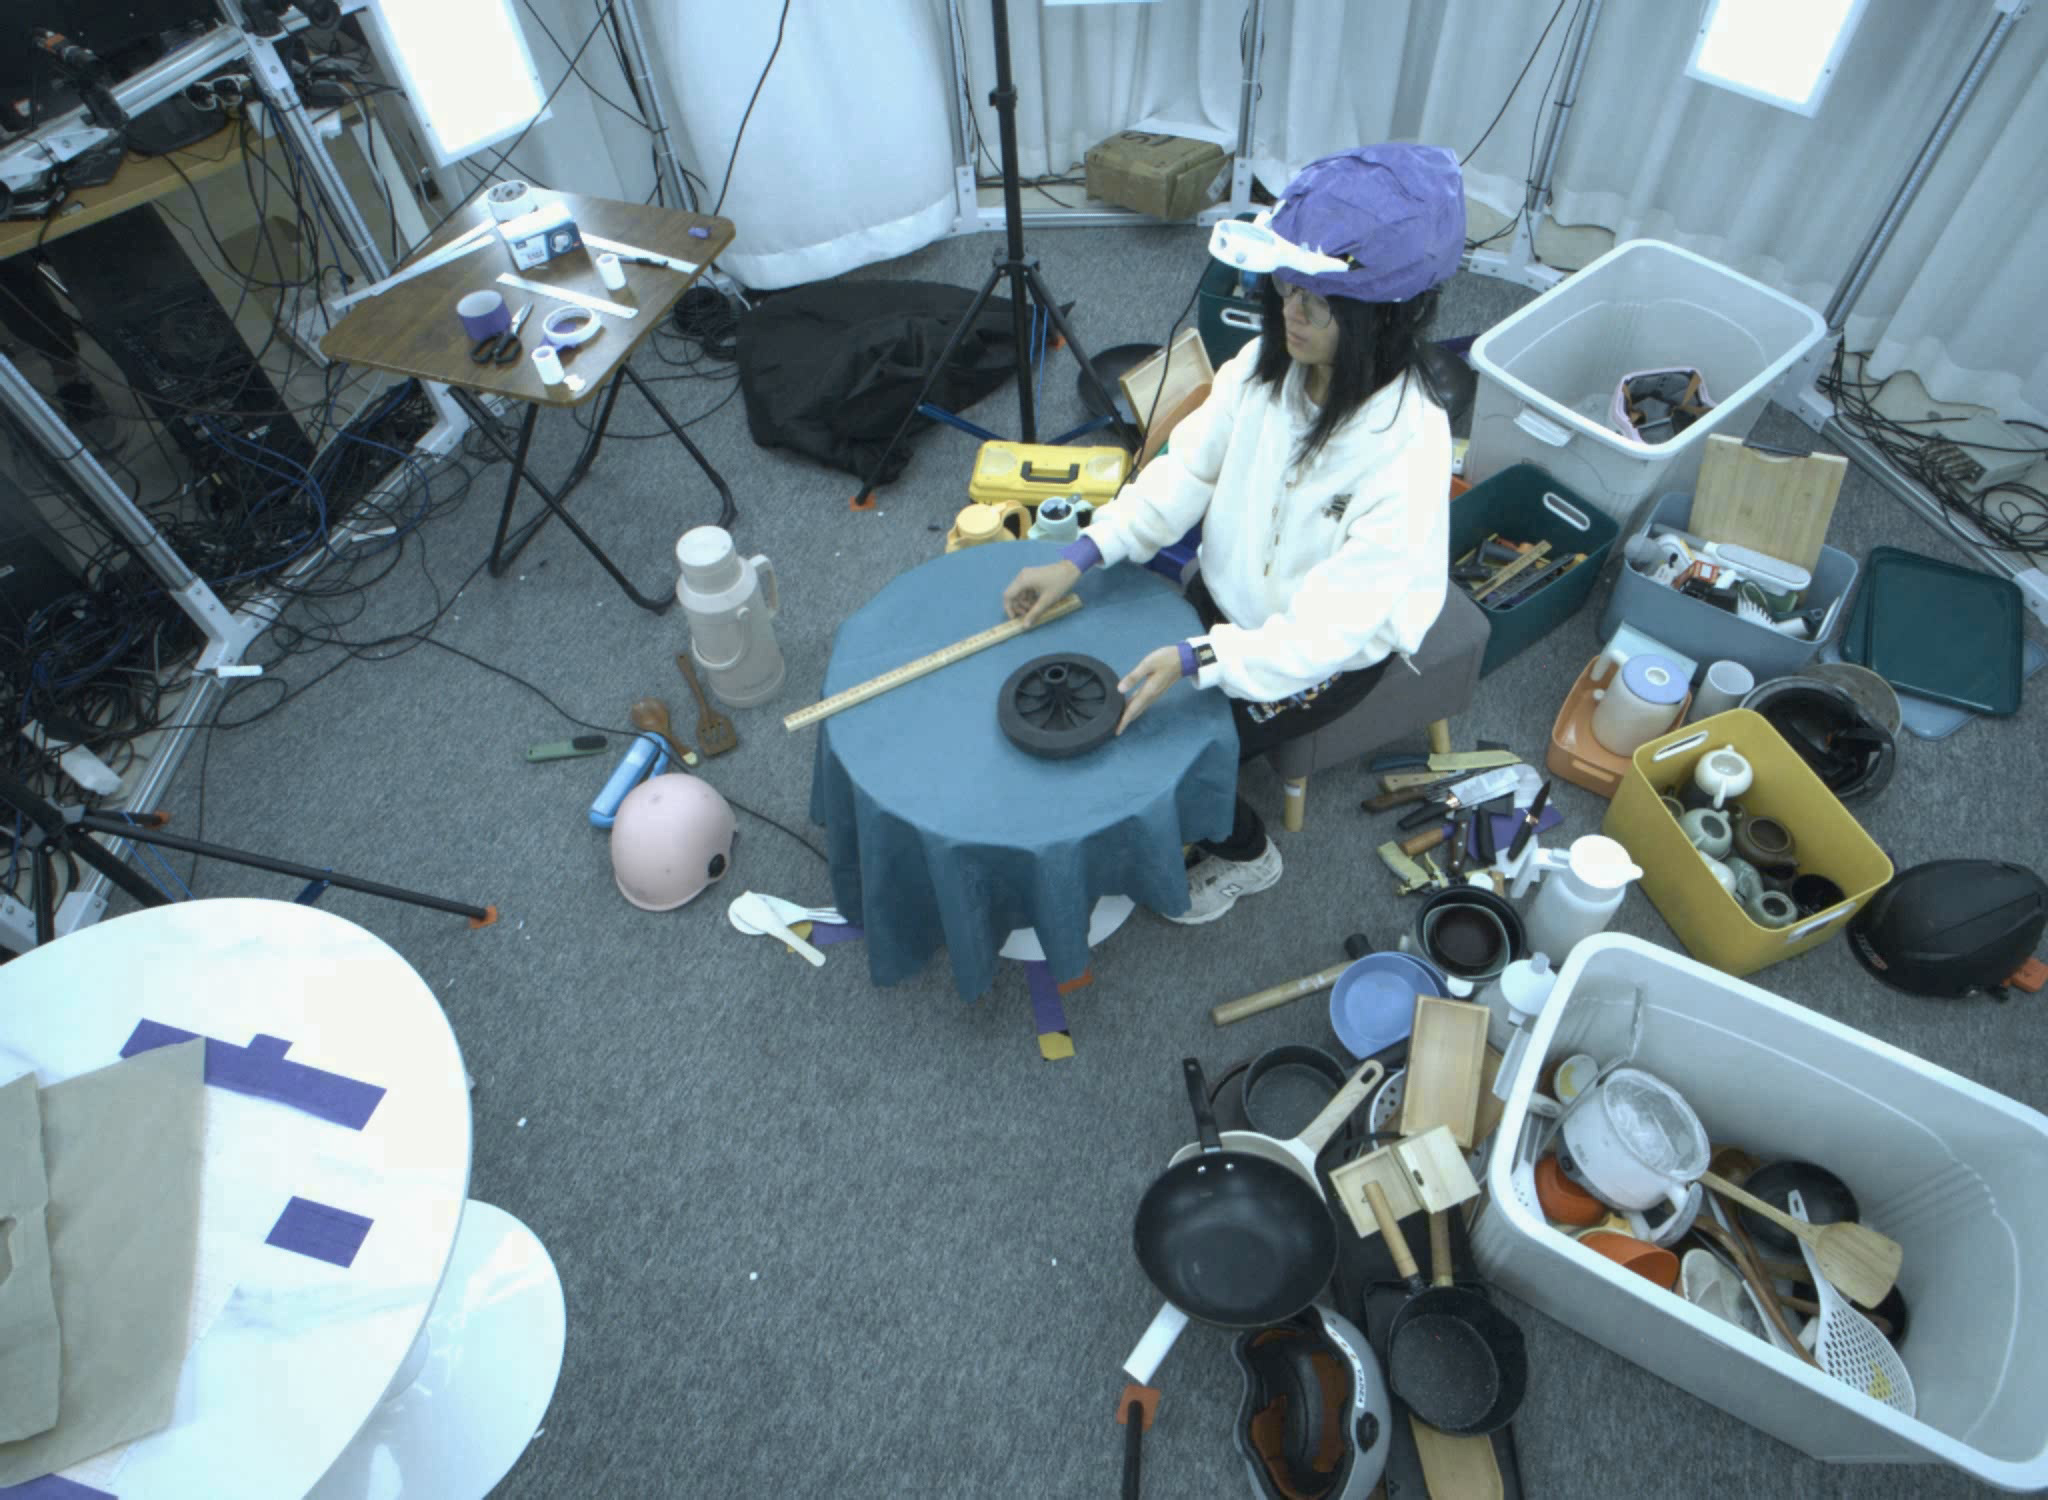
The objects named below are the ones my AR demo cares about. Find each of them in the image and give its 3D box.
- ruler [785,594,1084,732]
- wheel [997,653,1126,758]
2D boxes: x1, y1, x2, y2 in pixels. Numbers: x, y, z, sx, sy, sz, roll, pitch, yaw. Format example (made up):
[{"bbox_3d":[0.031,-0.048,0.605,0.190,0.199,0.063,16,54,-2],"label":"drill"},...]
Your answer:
[{"bbox_3d":[-0.132,-0.139,1.883,0.504,0.006,0.026,-24,77,-15],"label":"ruler"},{"bbox_3d":[0.052,-0.081,1.793,0.186,0.080,0.188,28,61,26],"label":"wheel"}]
